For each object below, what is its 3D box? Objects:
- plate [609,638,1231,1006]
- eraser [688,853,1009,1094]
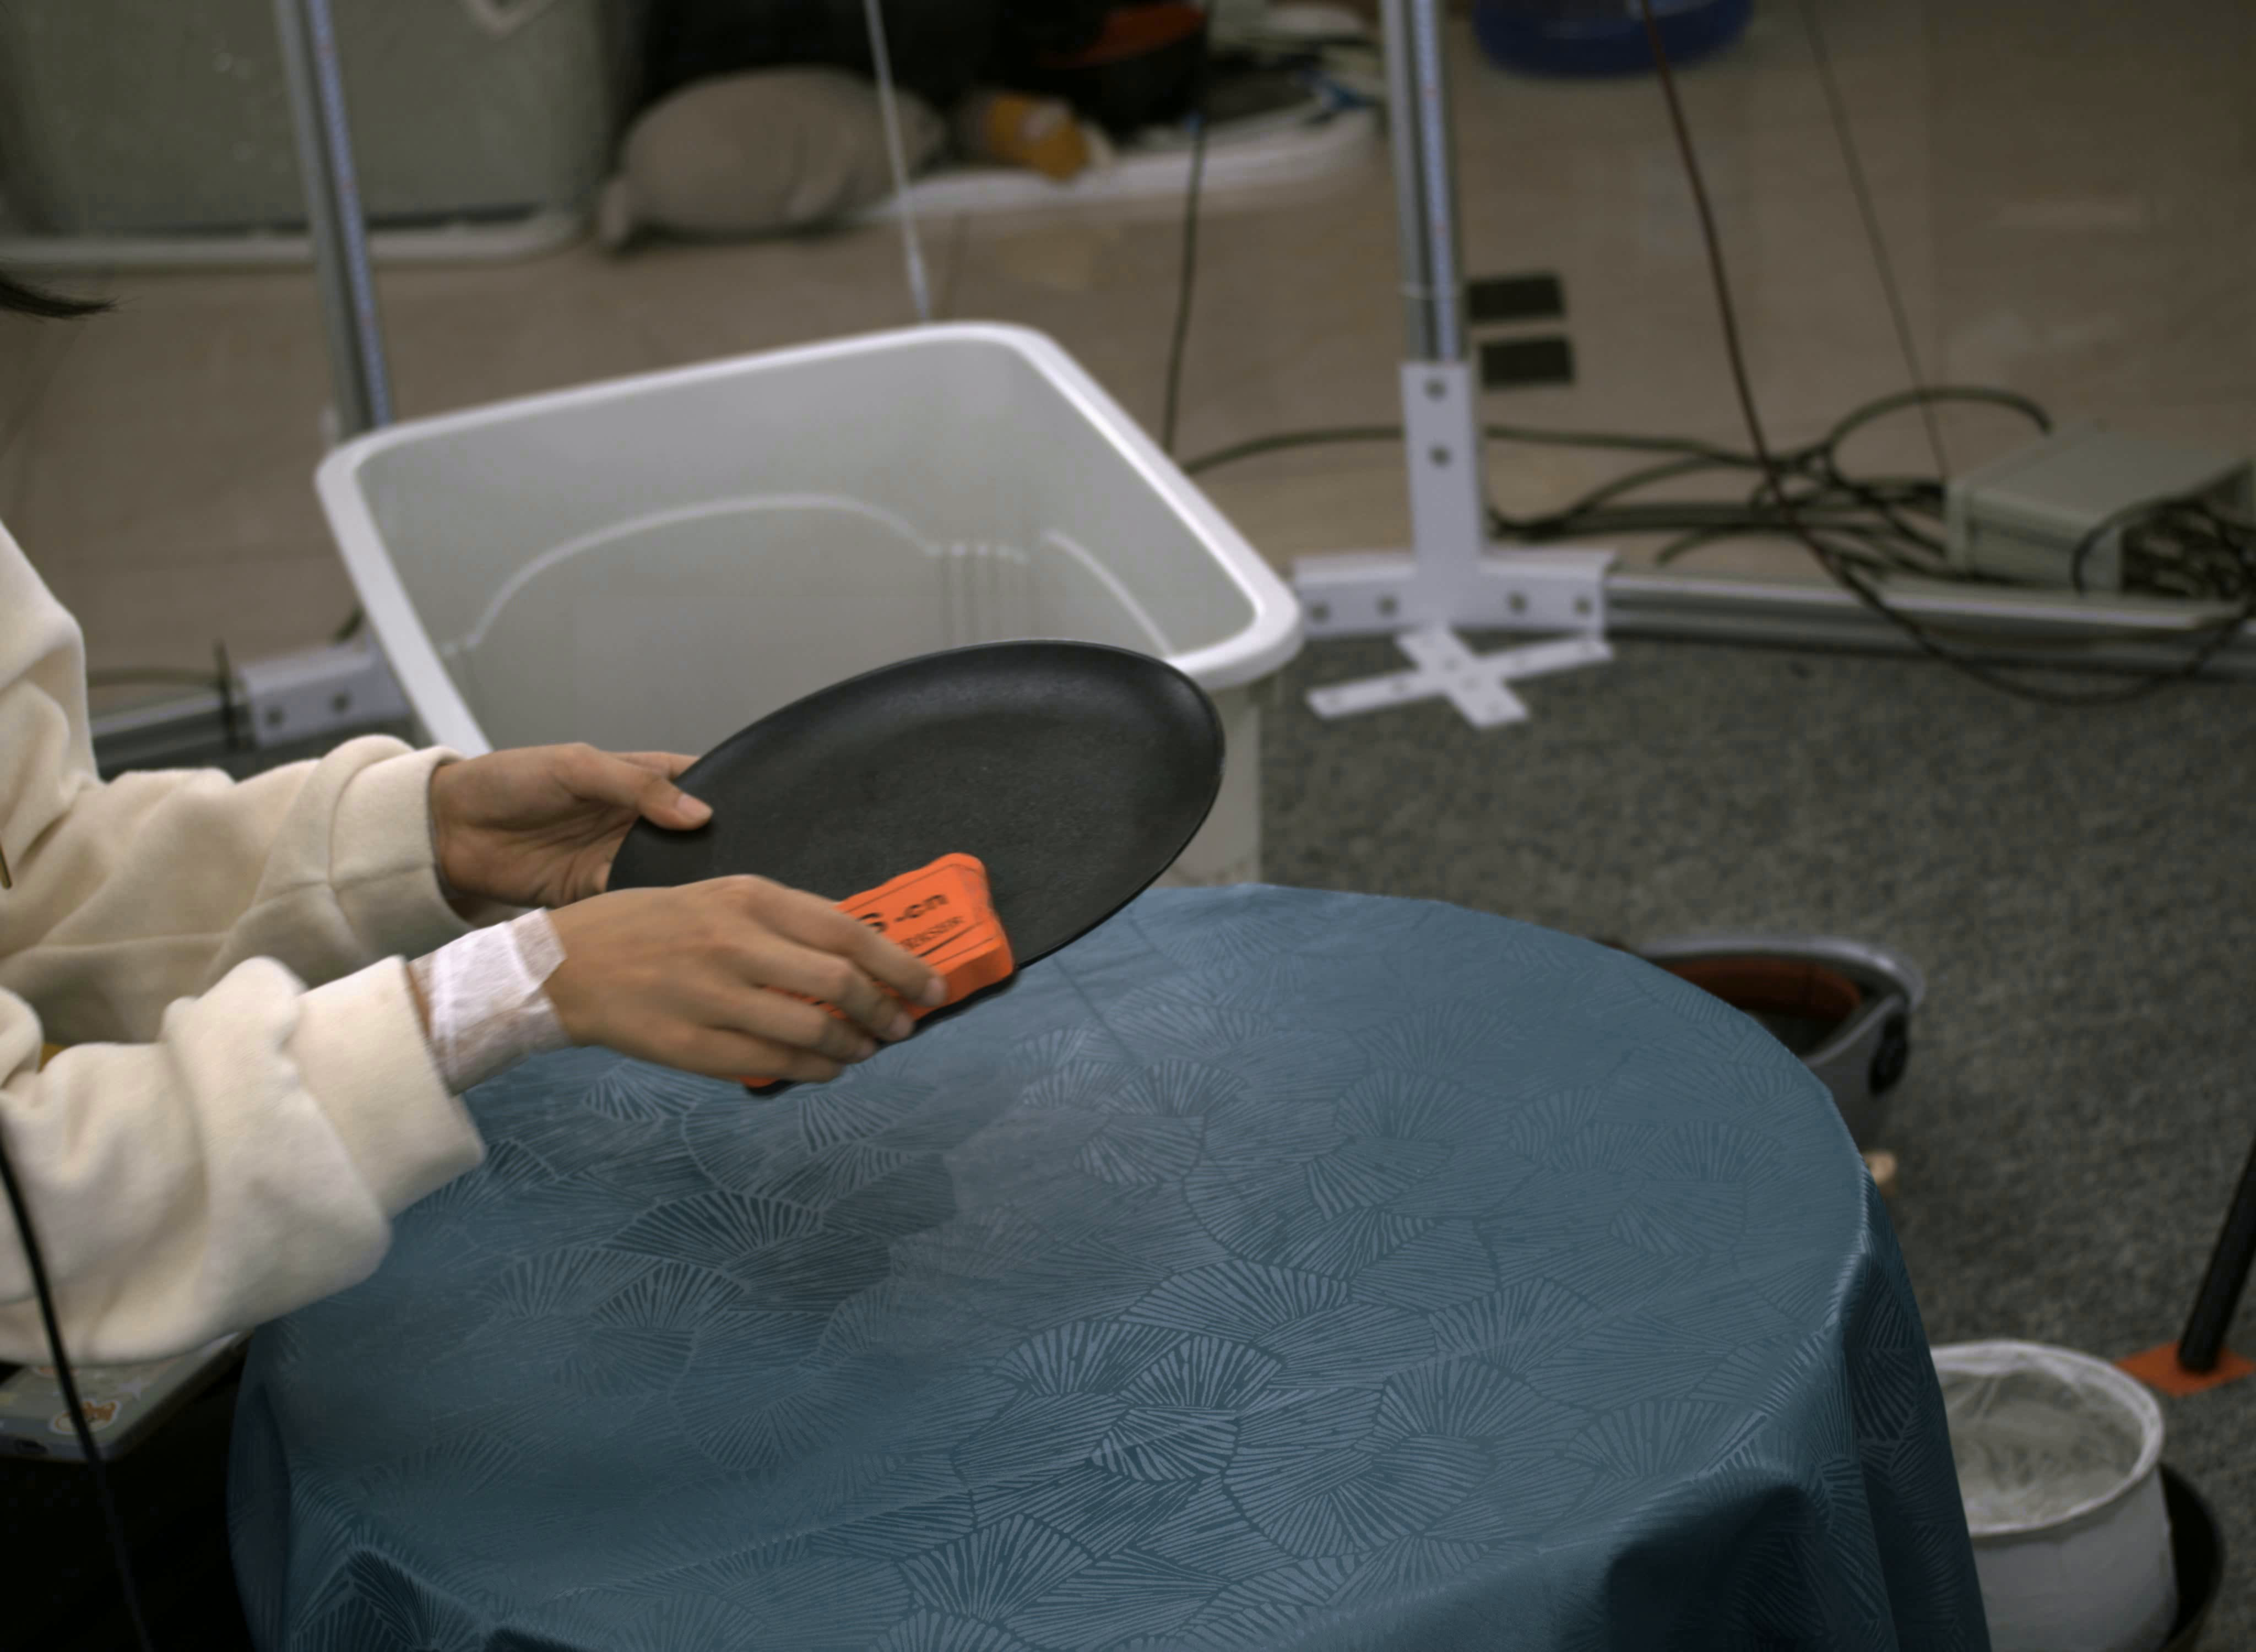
[{"bbox_3d":[-0.077,0.005,2.125,0.244,0.024,0.240,-13,32,9],"label":"plate"},{"bbox_3d":[-0.100,0.052,2.017,0.108,0.023,0.058,-23,45,-2],"label":"eraser"}]
